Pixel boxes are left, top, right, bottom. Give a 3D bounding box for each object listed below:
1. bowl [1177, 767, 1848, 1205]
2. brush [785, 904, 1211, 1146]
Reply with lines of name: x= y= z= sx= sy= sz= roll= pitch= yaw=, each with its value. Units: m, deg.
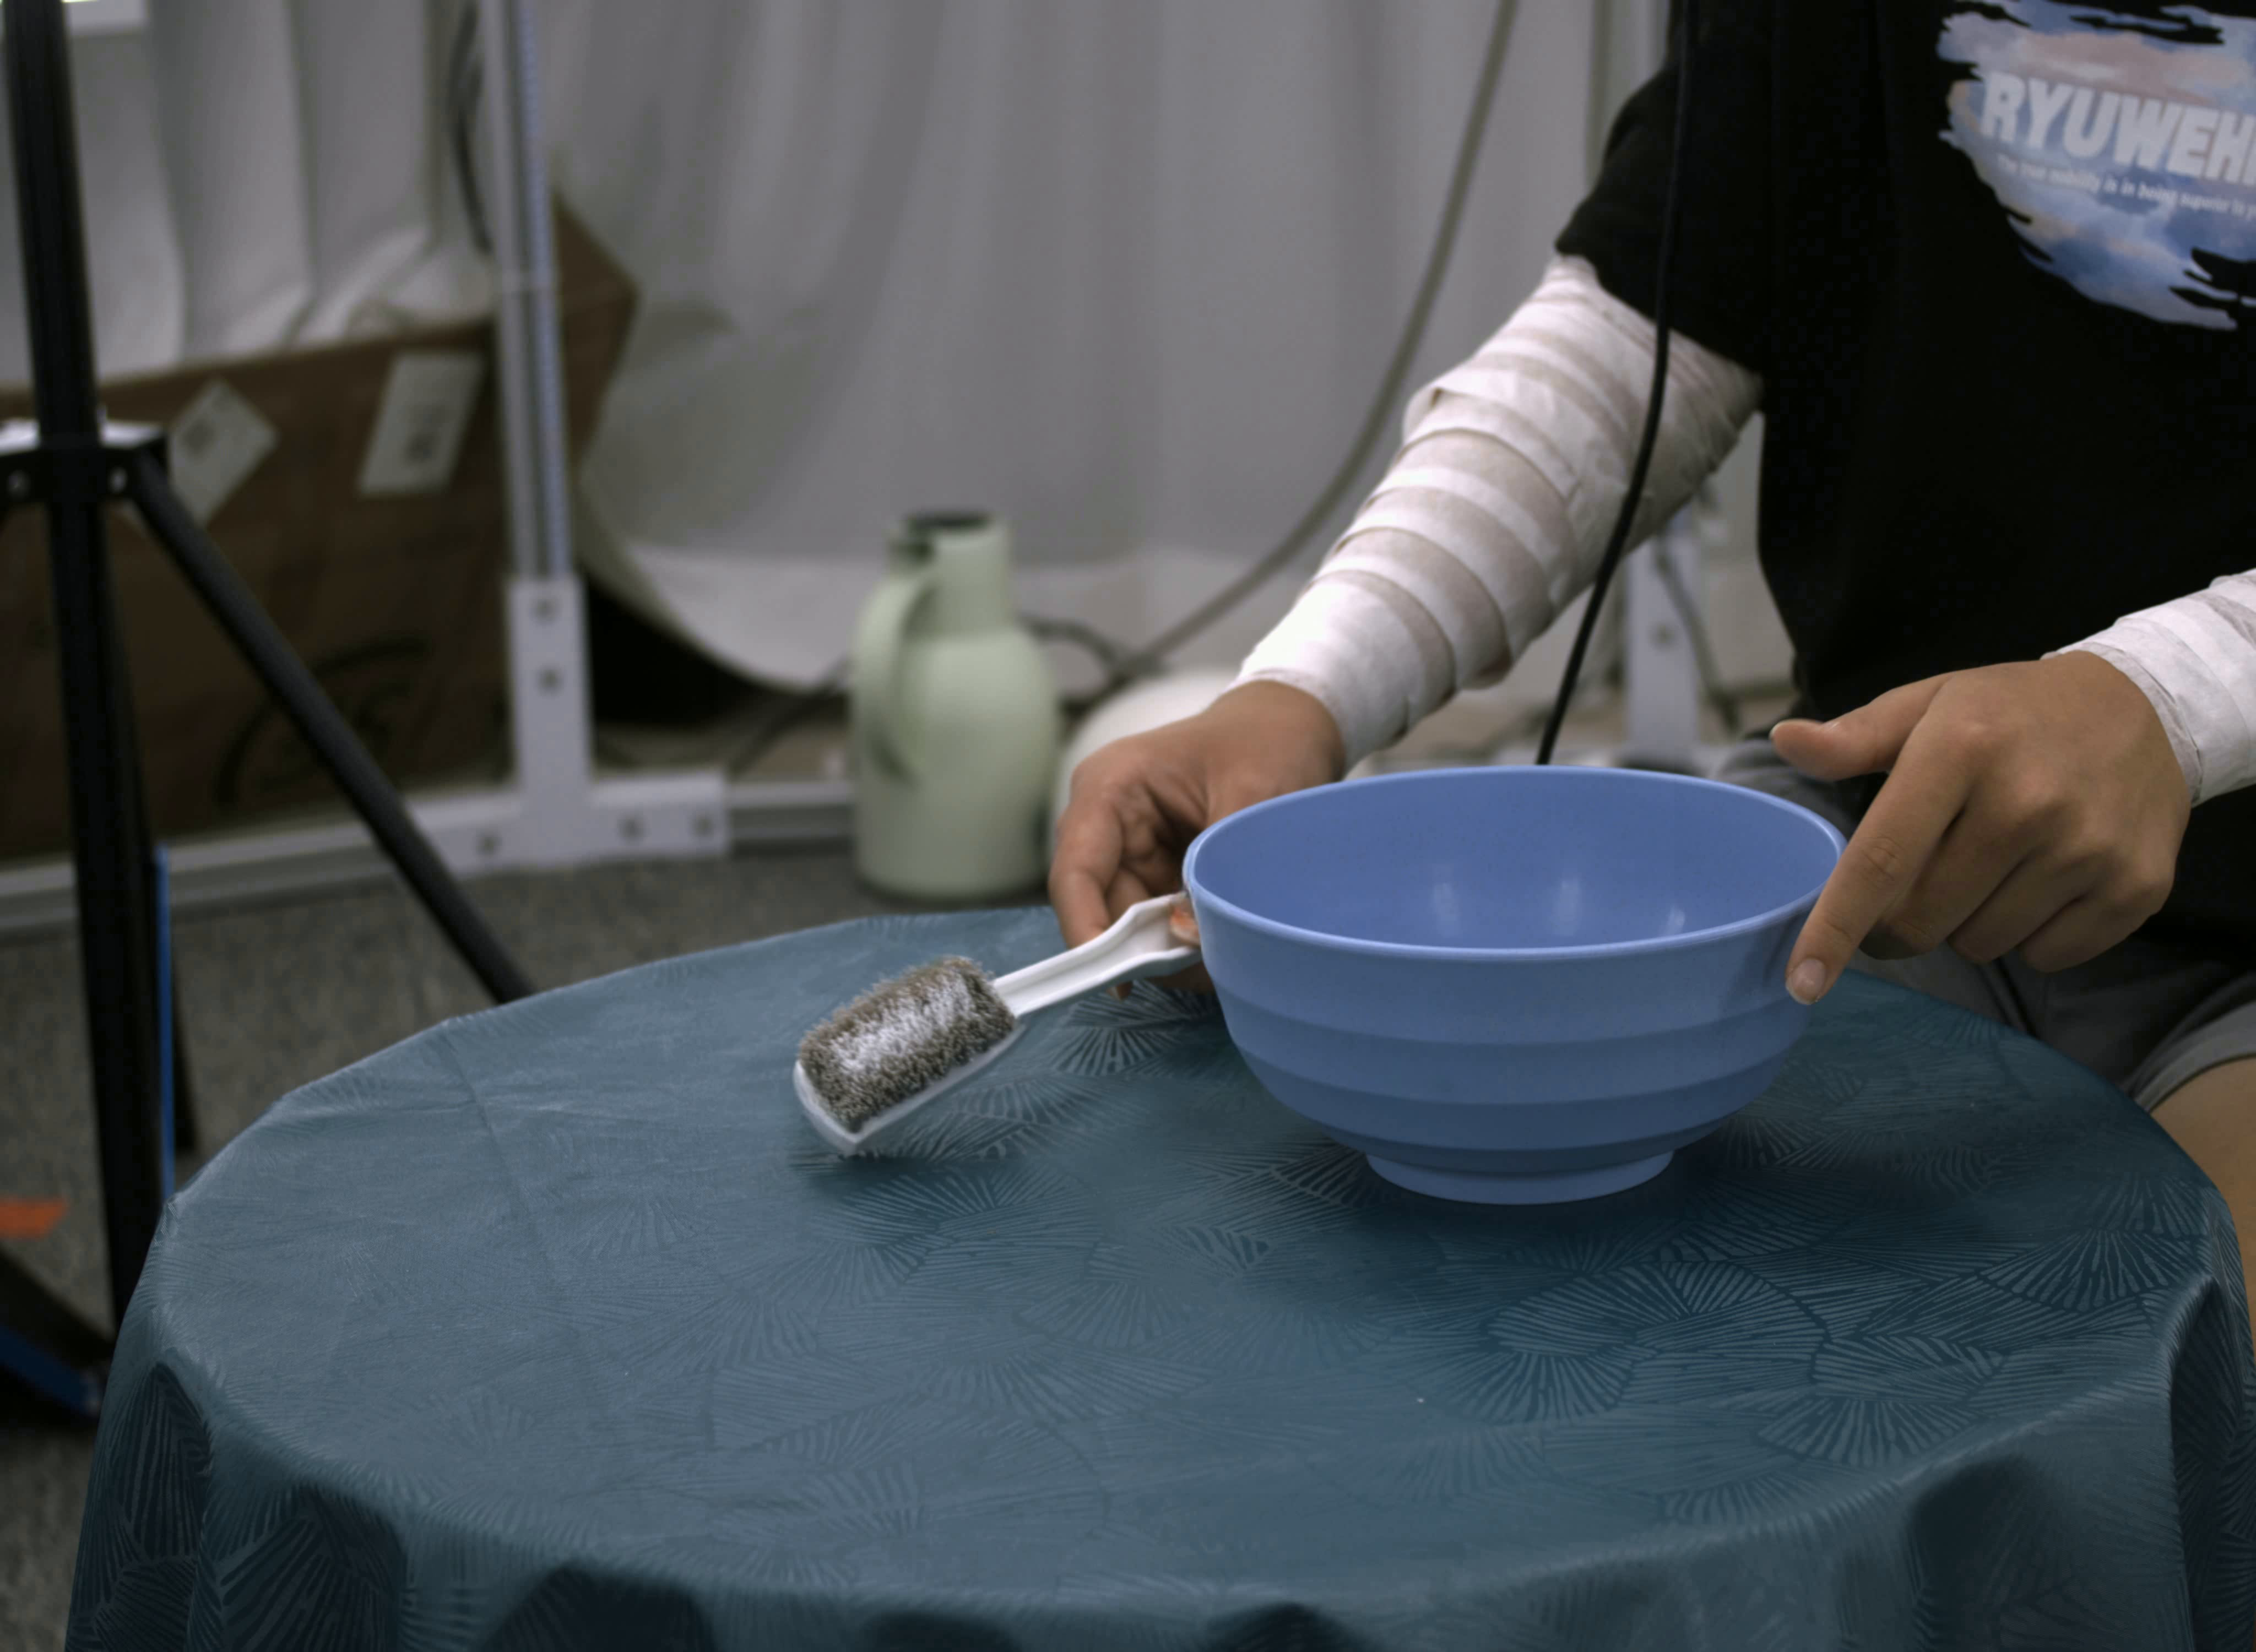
bowl: x=0.114 y=0.052 z=1.564 sx=0.195 sy=0.095 sz=0.197 roll=-3 pitch=15 yaw=0
brush: x=0.000 y=0.038 z=1.641 sx=0.239 sy=0.050 sz=0.035 roll=-21 pitch=60 yaw=-28
